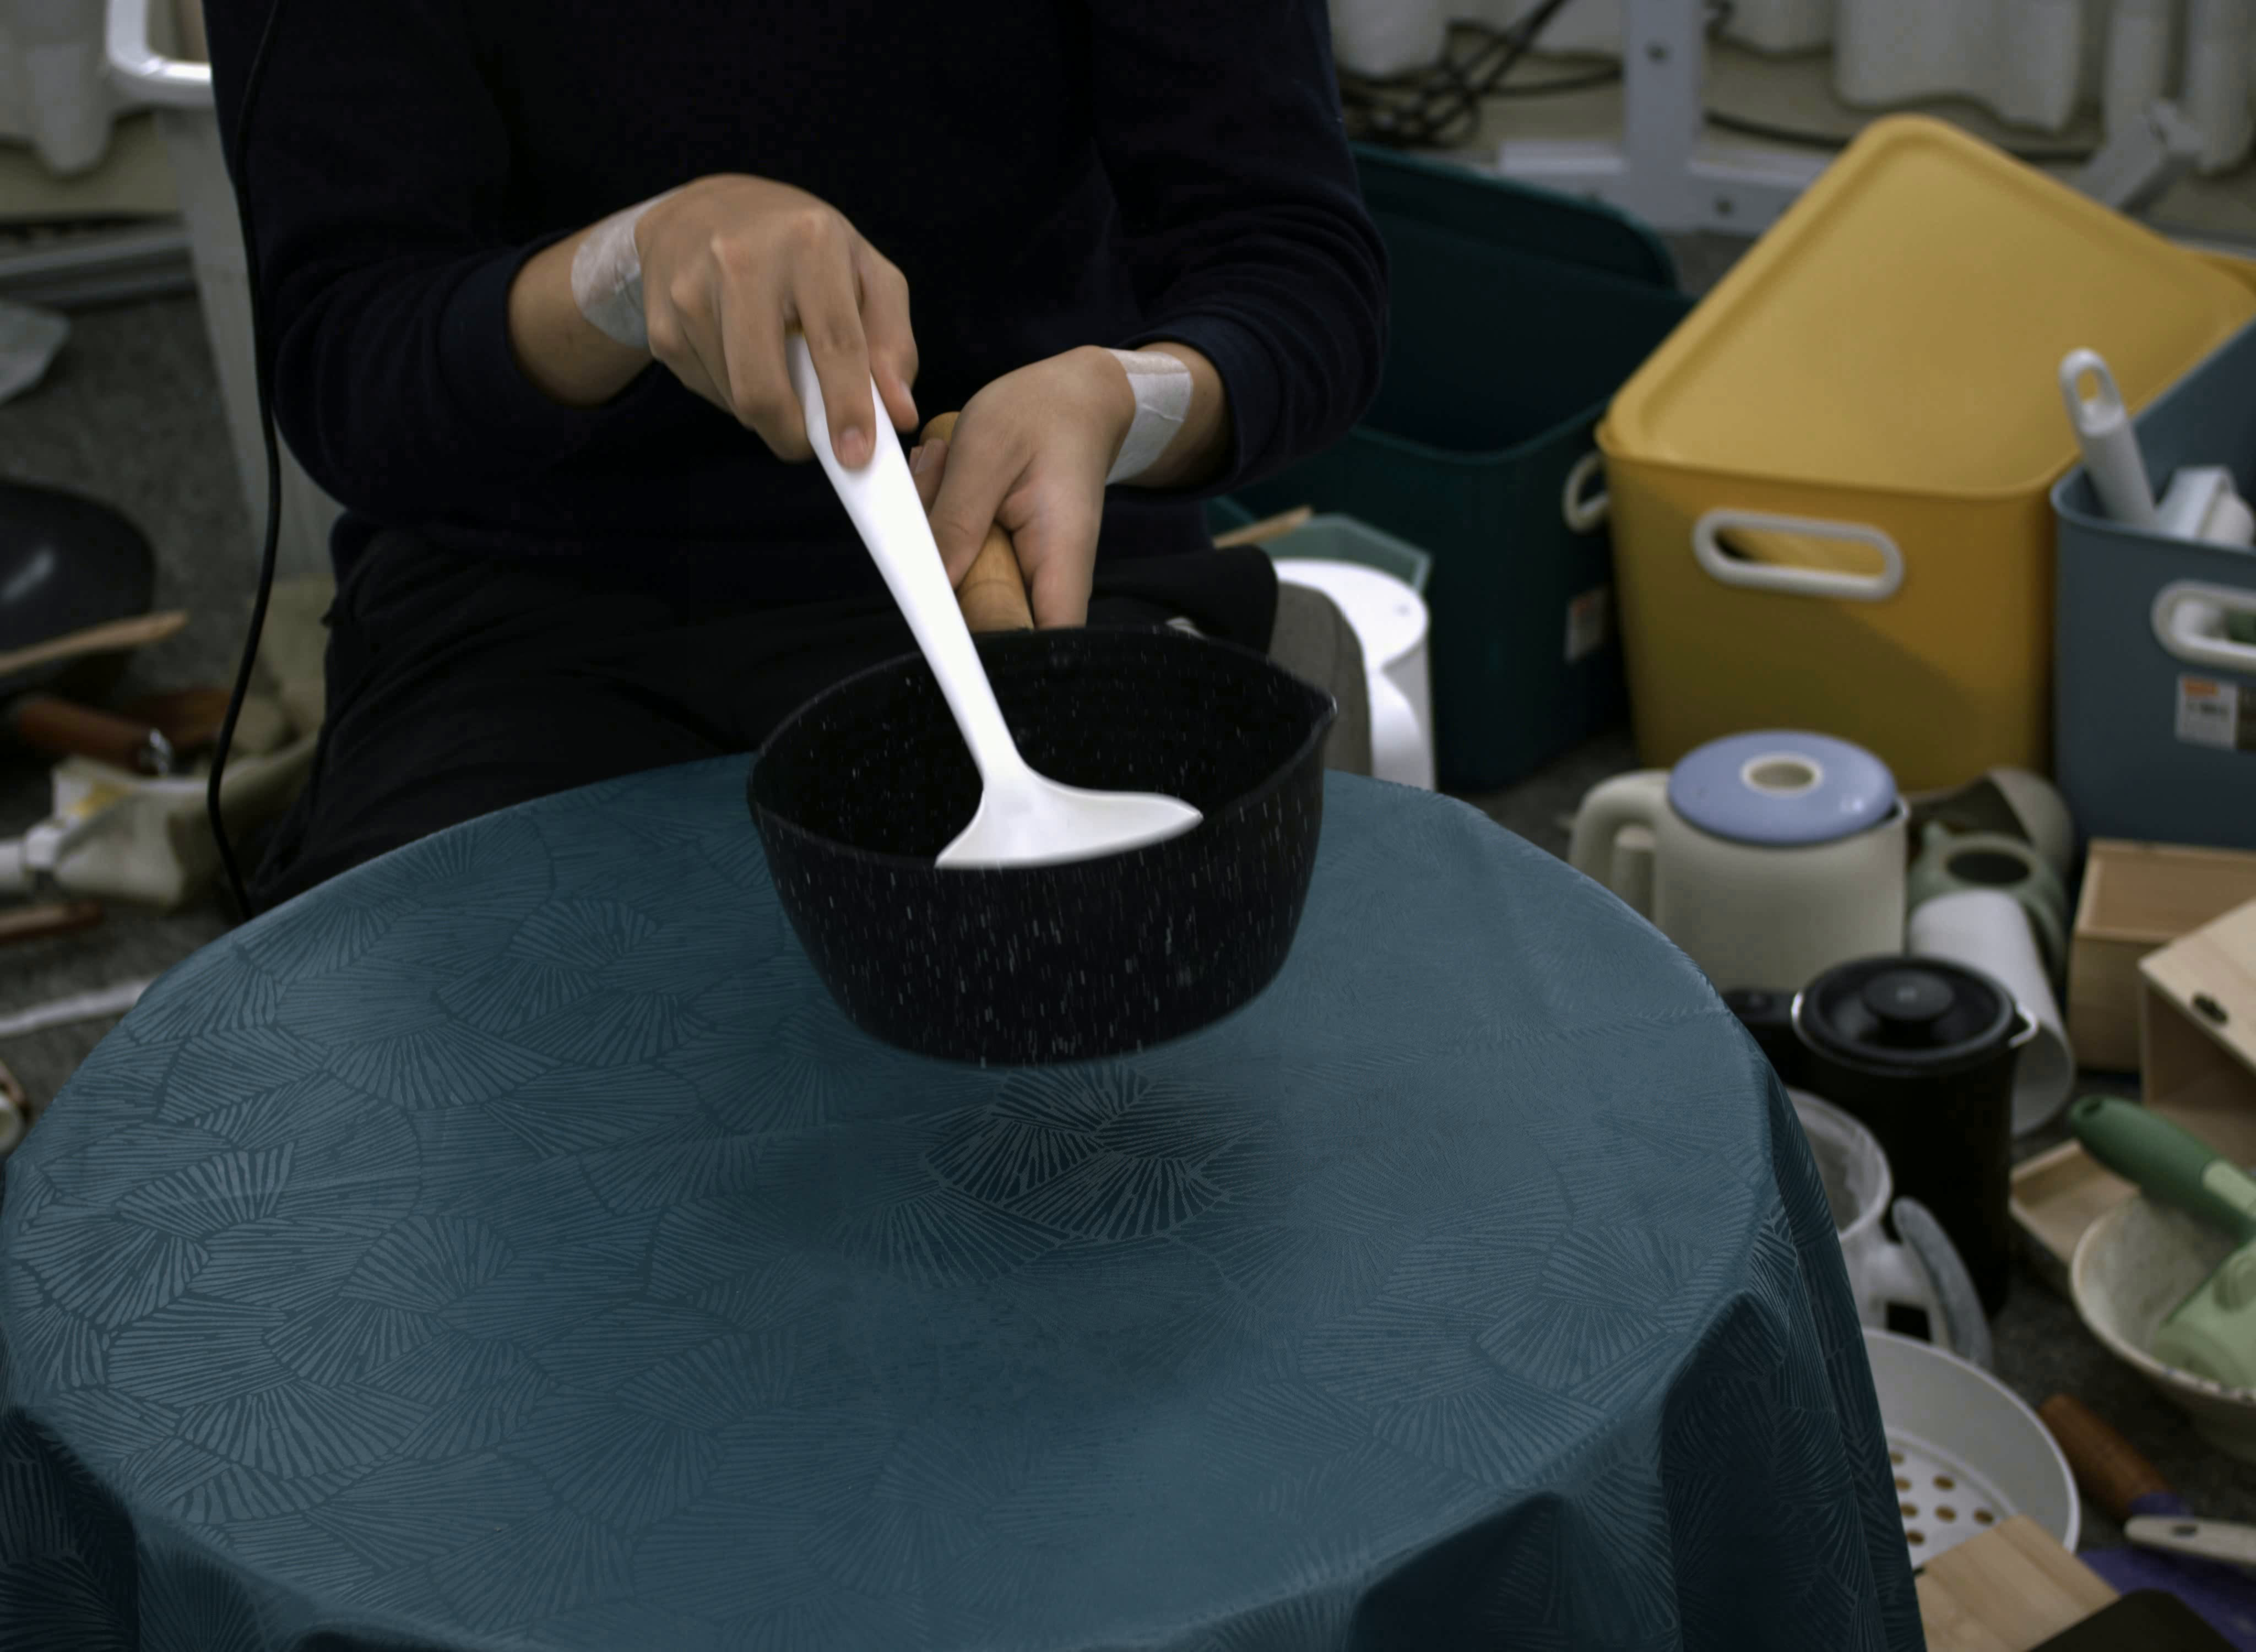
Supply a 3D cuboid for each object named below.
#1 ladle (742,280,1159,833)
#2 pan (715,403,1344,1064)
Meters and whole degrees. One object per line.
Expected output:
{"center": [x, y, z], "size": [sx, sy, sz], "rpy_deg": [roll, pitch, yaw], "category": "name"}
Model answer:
{"center": [-0.071, -0.078, 1.889], "size": [0.090, 0.069, 0.297], "rpy_deg": [-20, 58, -7], "category": "ladle"}
{"center": [-0.039, -0.036, 1.912], "size": [0.207, 0.107, 0.347], "rpy_deg": [-10, 25, -5], "category": "pan"}
